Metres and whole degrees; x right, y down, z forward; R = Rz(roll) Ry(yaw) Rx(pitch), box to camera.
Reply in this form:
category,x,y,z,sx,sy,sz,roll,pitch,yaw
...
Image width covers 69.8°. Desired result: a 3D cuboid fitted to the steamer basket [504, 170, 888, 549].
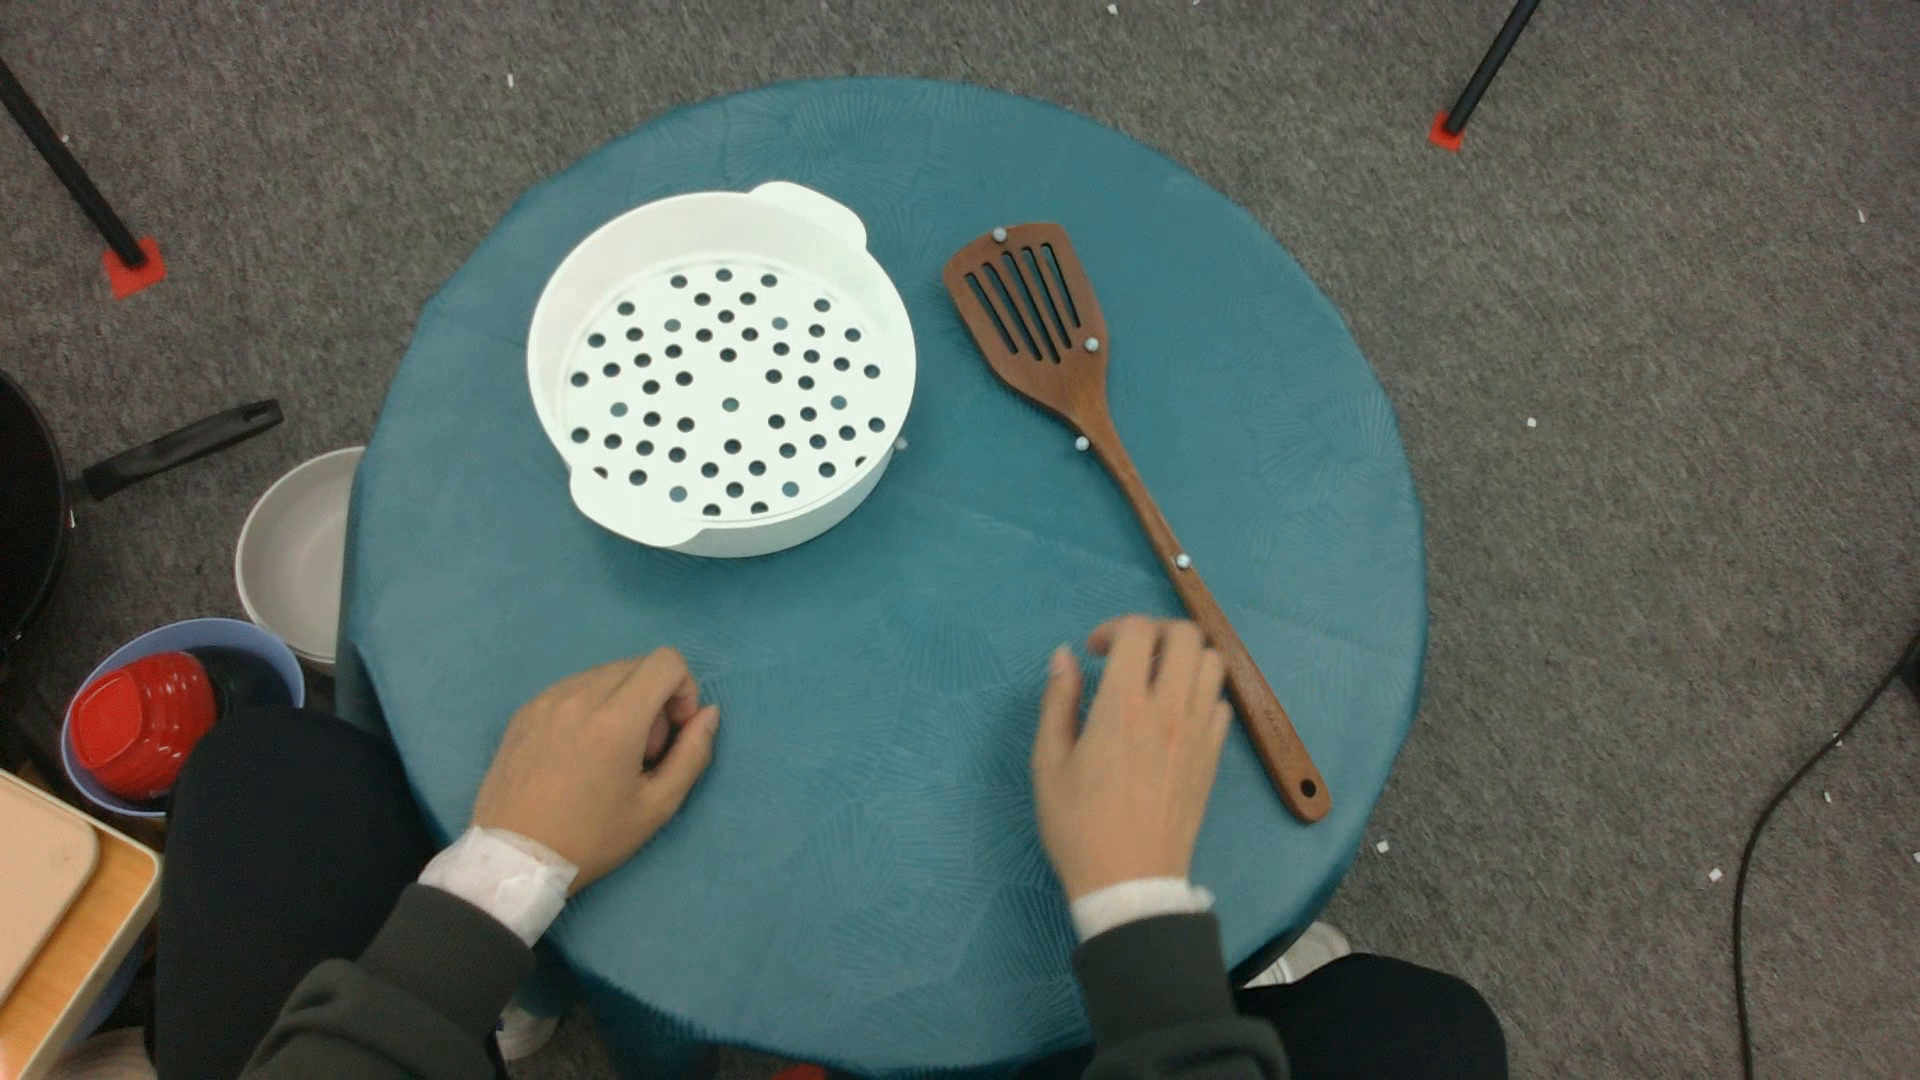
category,x,y,z,sx,sy,sz,roll,pitch,yaw
steamer basket,-0.141,-0.093,0.757,0.202,0.069,0.231,22,69,4

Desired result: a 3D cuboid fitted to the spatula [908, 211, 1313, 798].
category,x,y,z,sx,sy,sz,roll,pitch,yaw
spatula,0.092,-0.025,0.786,0.086,0.023,0.386,-26,74,-16
